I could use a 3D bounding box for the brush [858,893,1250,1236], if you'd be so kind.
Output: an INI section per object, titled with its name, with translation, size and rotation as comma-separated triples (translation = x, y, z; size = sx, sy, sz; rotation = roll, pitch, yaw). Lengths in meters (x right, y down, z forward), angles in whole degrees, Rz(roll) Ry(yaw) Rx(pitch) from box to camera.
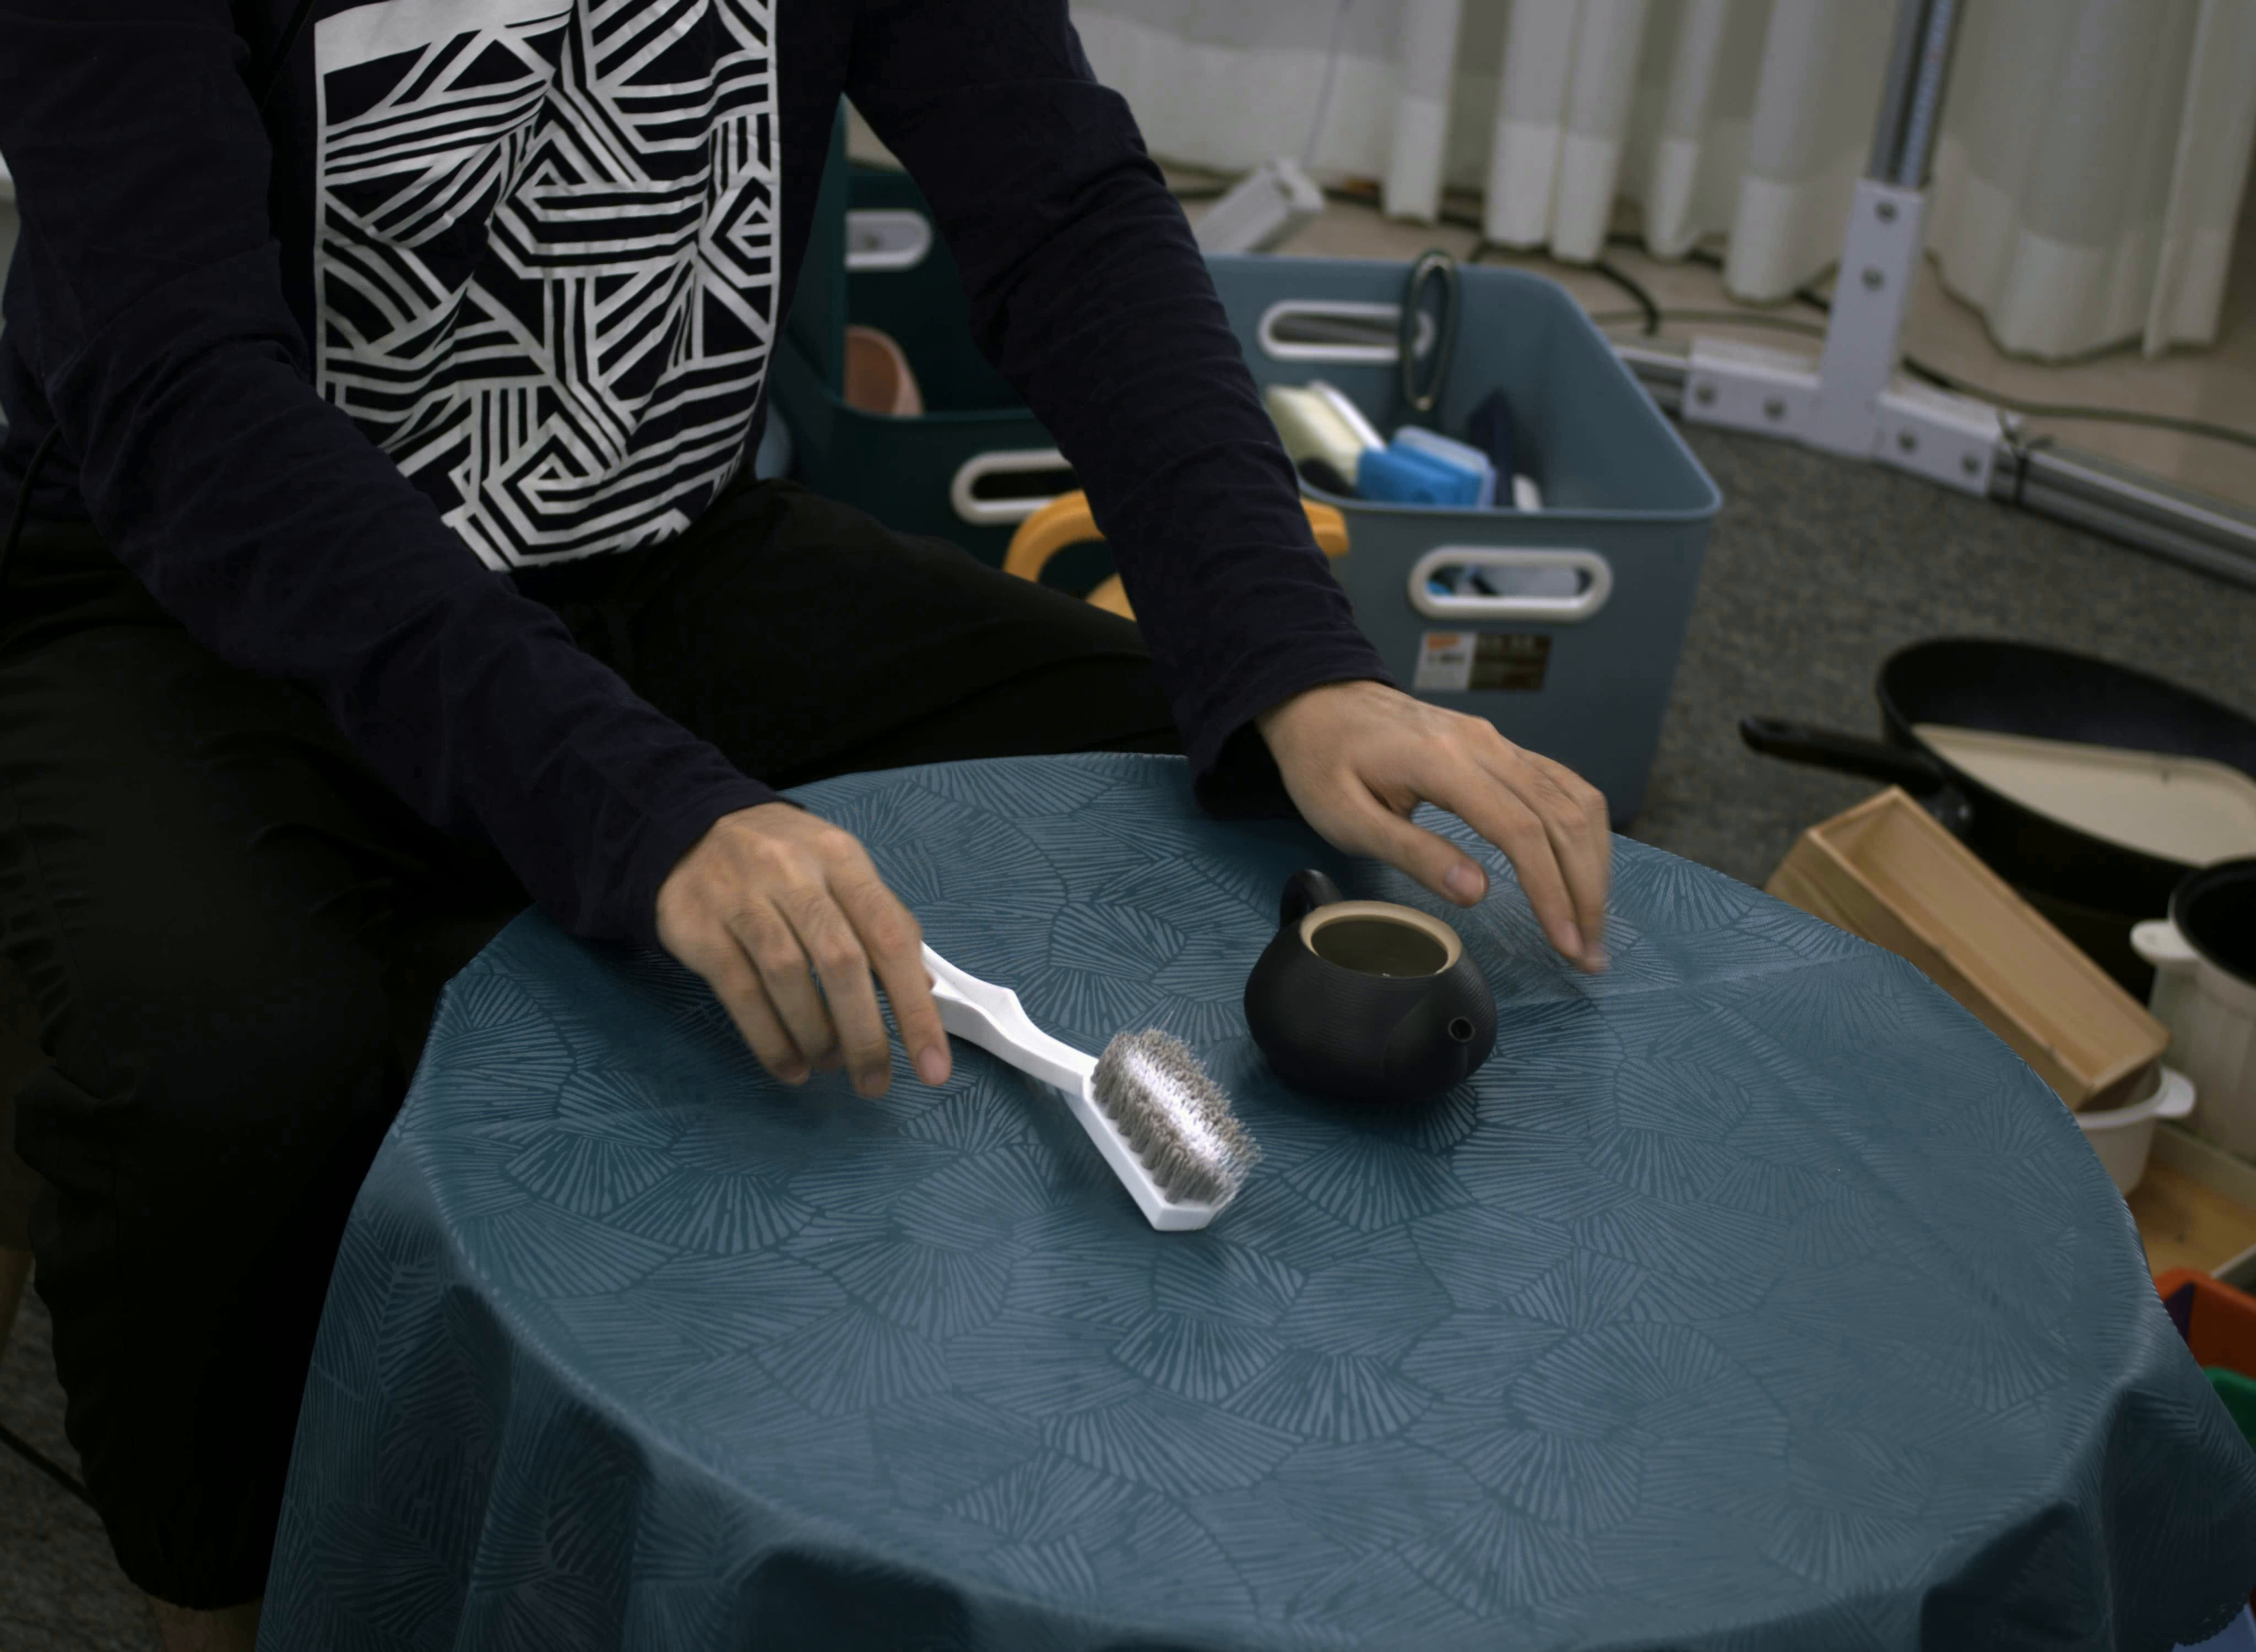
[brush]
translation = -0.031, 0.066, 1.859
size = 0.034, 0.050, 0.246
rotation = -15, 34, -26

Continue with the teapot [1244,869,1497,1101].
[teapot]
translation = 0.086, 0.062, 1.888
size = 0.090, 0.053, 0.134
rotation = -4, 28, -26
